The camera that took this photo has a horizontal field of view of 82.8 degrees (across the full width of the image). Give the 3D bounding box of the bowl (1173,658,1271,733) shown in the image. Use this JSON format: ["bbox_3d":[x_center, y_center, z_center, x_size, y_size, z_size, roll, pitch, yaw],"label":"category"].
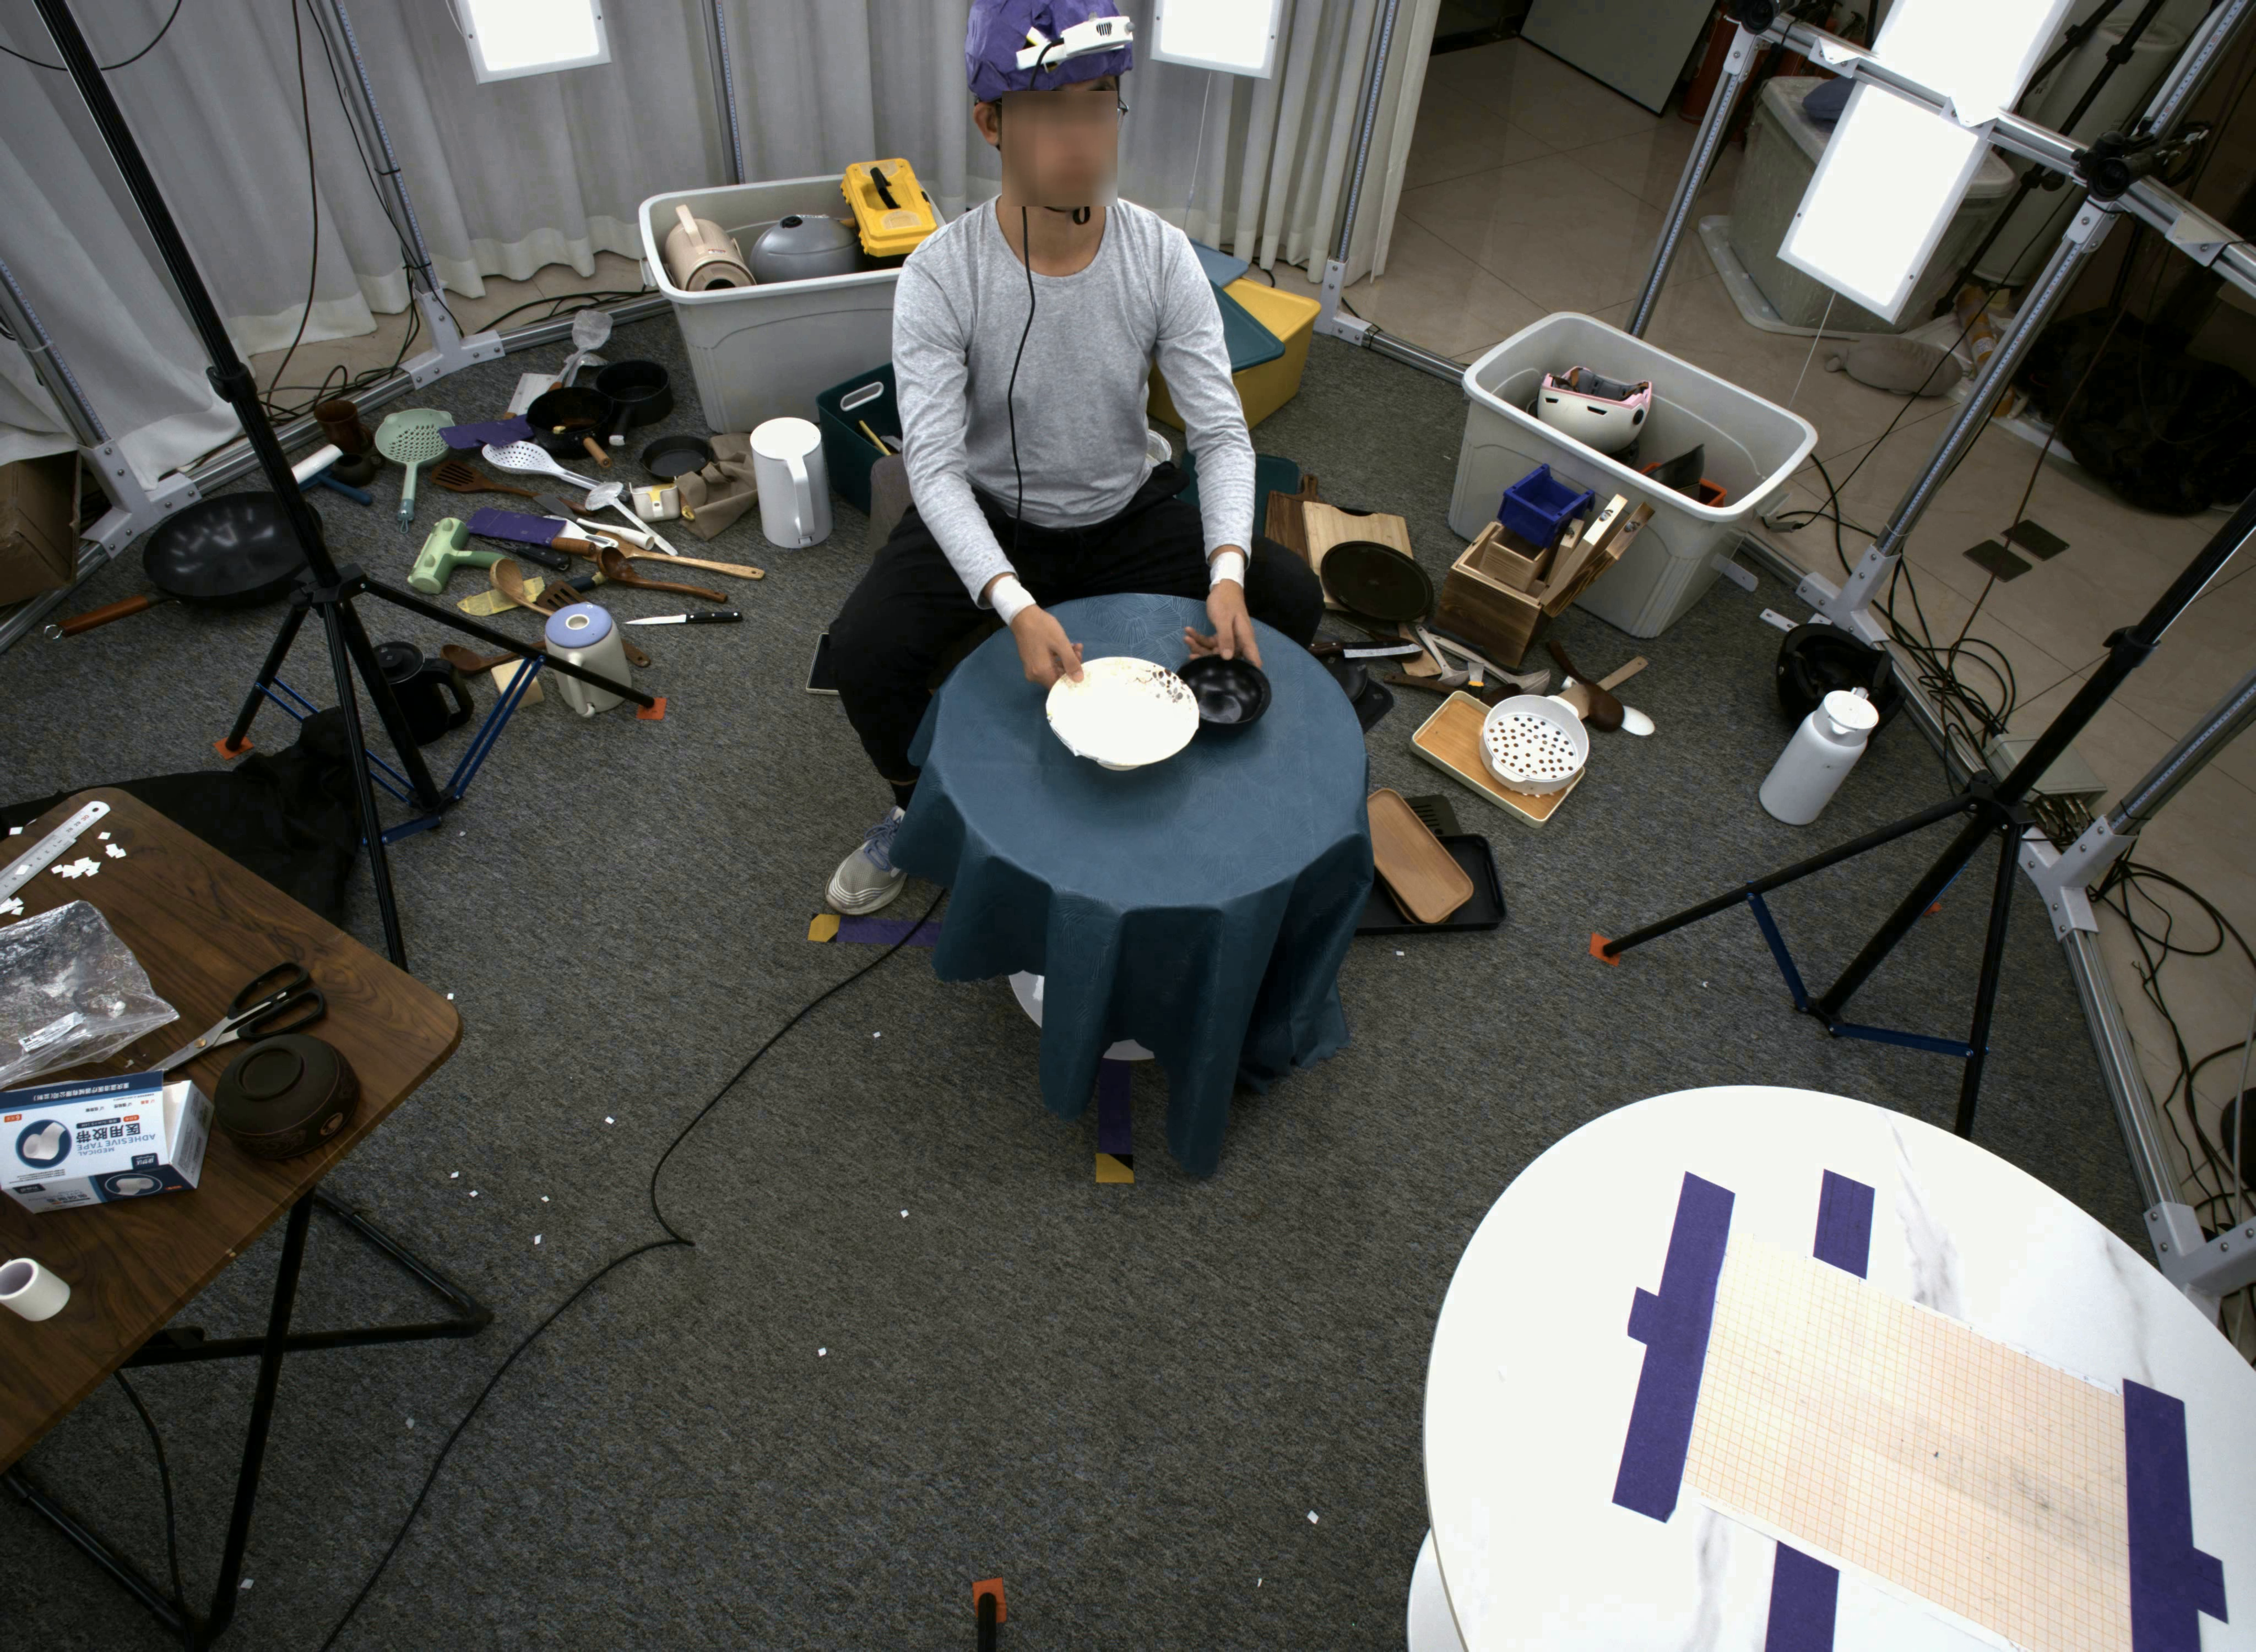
[{"bbox_3d":[0.129,-0.175,1.800,0.140,0.048,0.143,2,44,-3],"label":"bowl"}]

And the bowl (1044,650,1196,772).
[{"bbox_3d":[-0.015,-0.135,1.719,0.203,0.076,0.209,4,54,-6],"label":"bowl"}]
